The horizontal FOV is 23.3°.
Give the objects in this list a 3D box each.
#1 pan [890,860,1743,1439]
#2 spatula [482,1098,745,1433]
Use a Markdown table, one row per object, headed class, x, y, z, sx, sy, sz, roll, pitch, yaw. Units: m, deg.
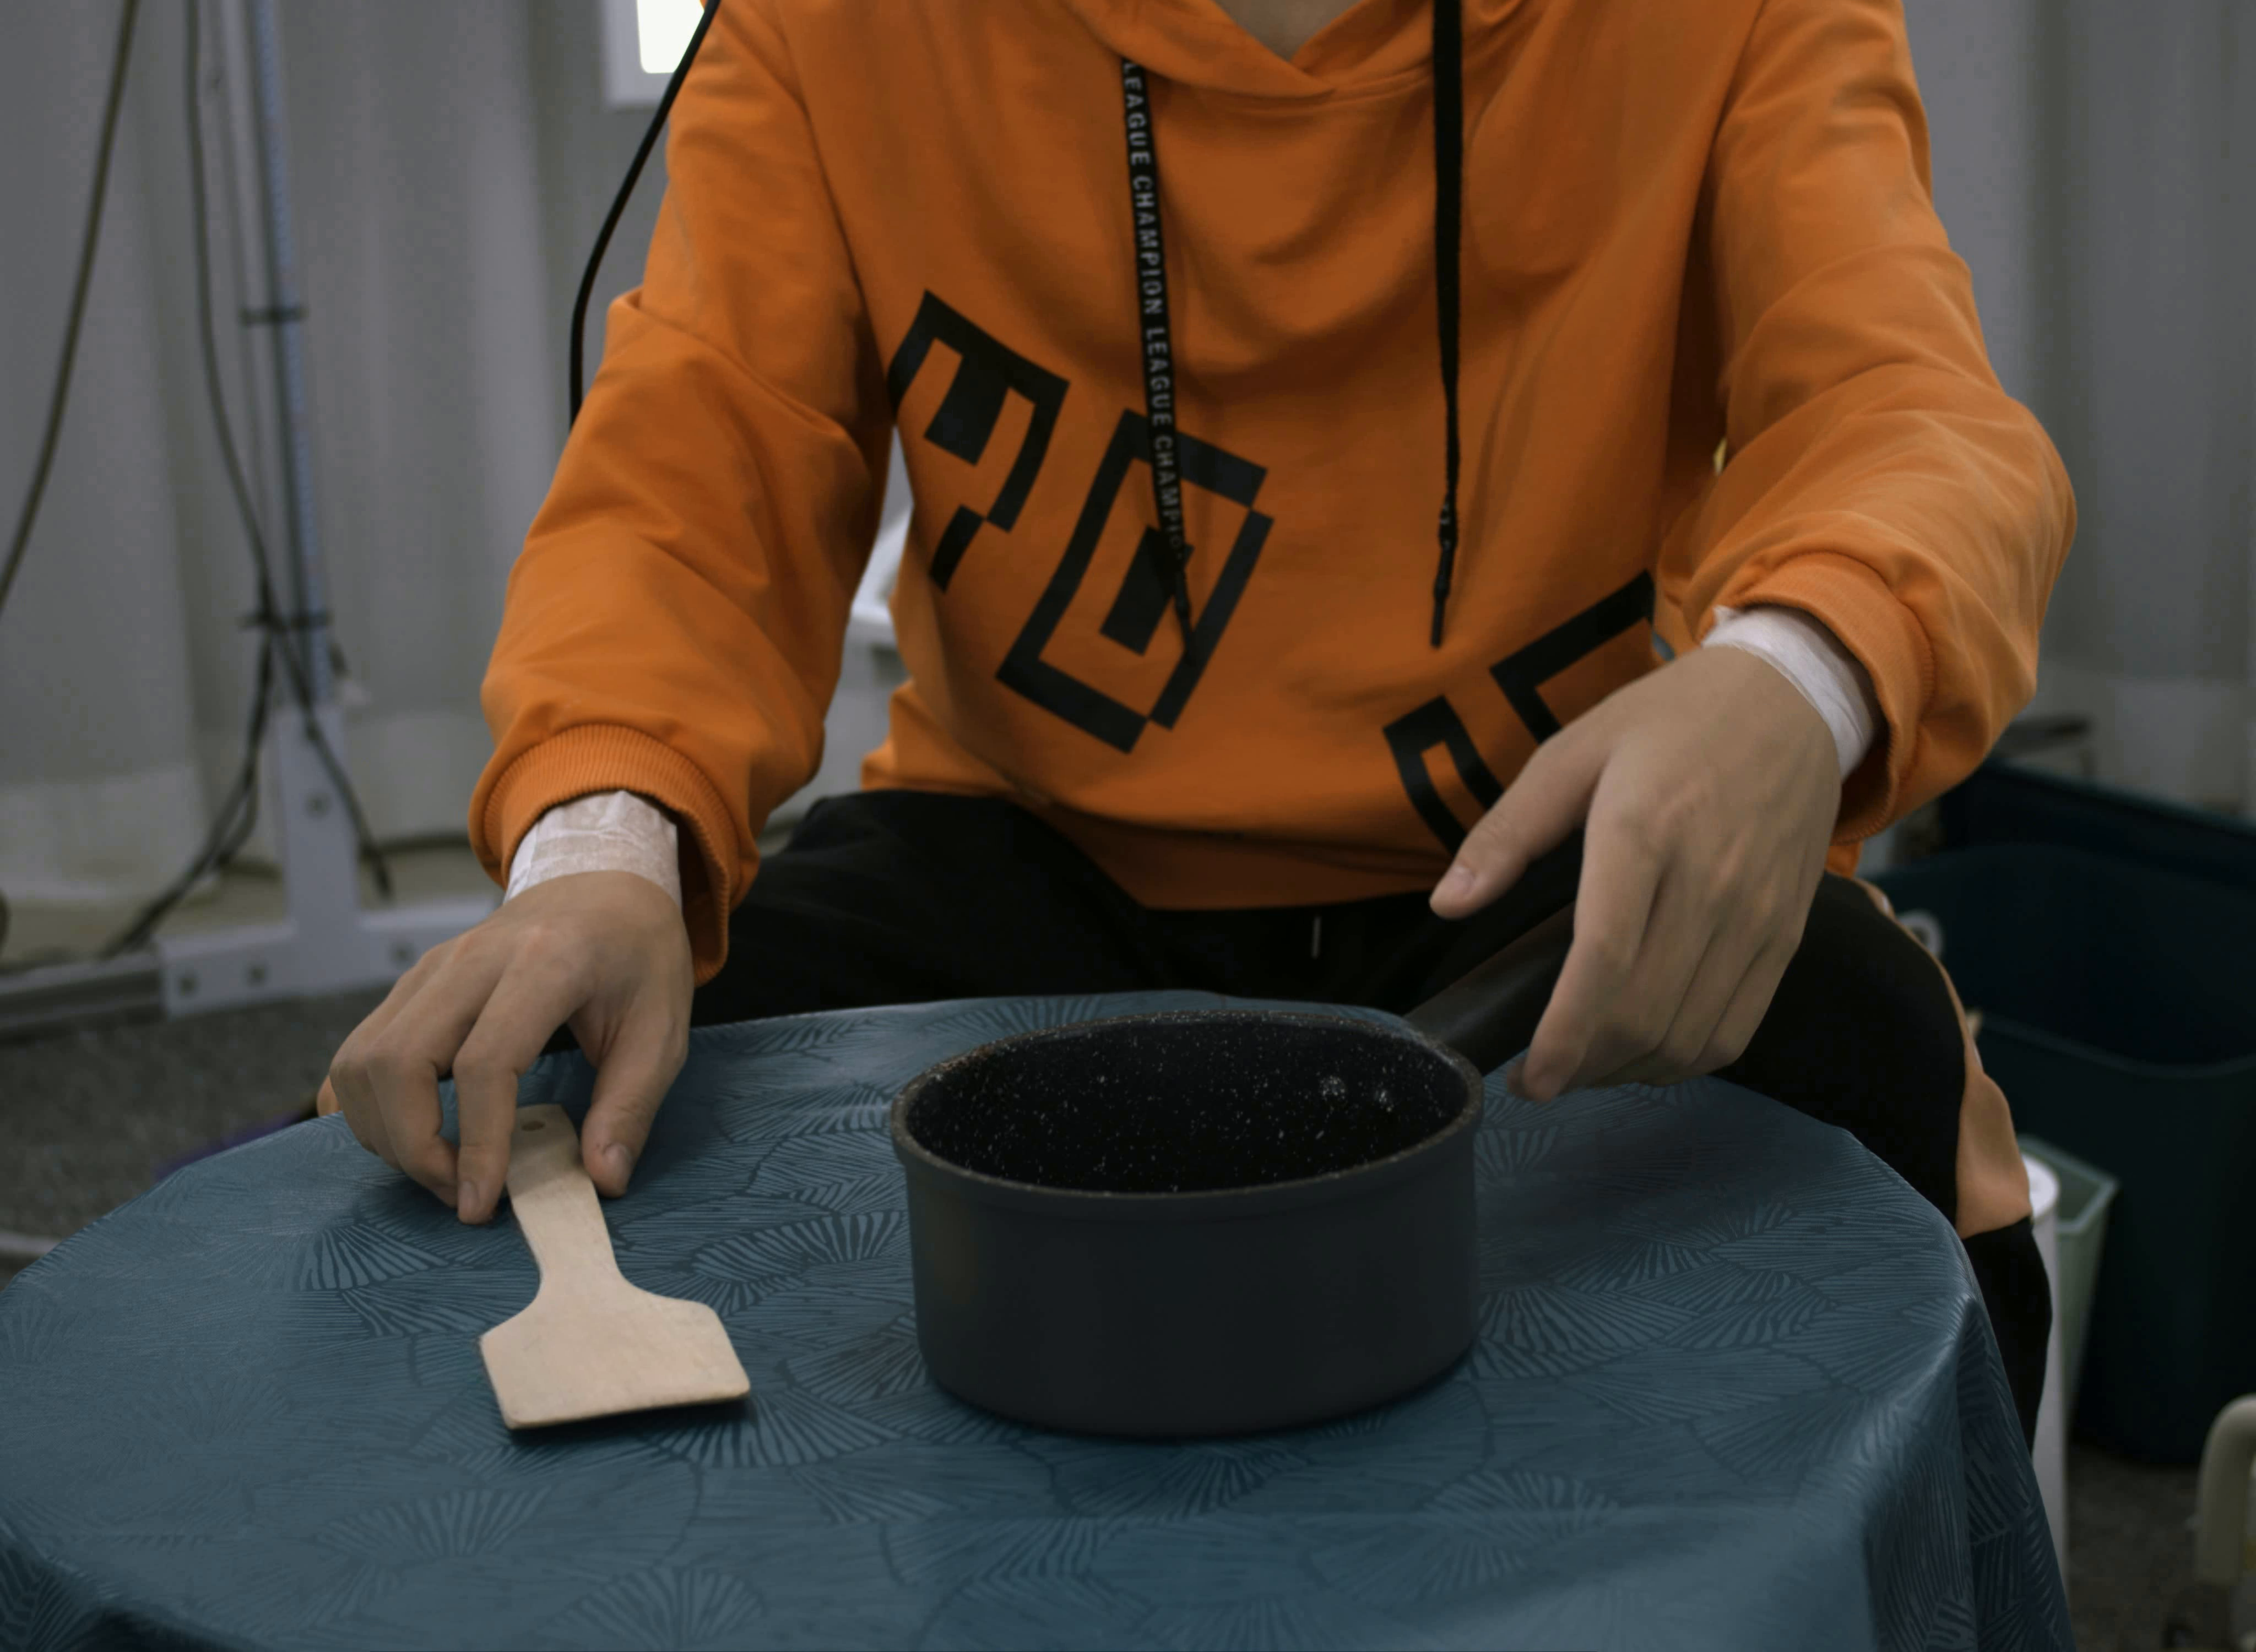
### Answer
| class | x | y | z | sx | sy | sz | roll | pitch | yaw |
| --- | --- | --- | --- | --- | --- | --- | --- | --- | --- |
| pan | 0.072 | 0.092 | 1.624 | 0.173 | 0.086 | 0.328 | 12 | 22 | 42 |
| spatula | -0.170 | 0.131 | 1.672 | 0.072 | 0.010 | 0.295 | -9 | 16 | -9 |
